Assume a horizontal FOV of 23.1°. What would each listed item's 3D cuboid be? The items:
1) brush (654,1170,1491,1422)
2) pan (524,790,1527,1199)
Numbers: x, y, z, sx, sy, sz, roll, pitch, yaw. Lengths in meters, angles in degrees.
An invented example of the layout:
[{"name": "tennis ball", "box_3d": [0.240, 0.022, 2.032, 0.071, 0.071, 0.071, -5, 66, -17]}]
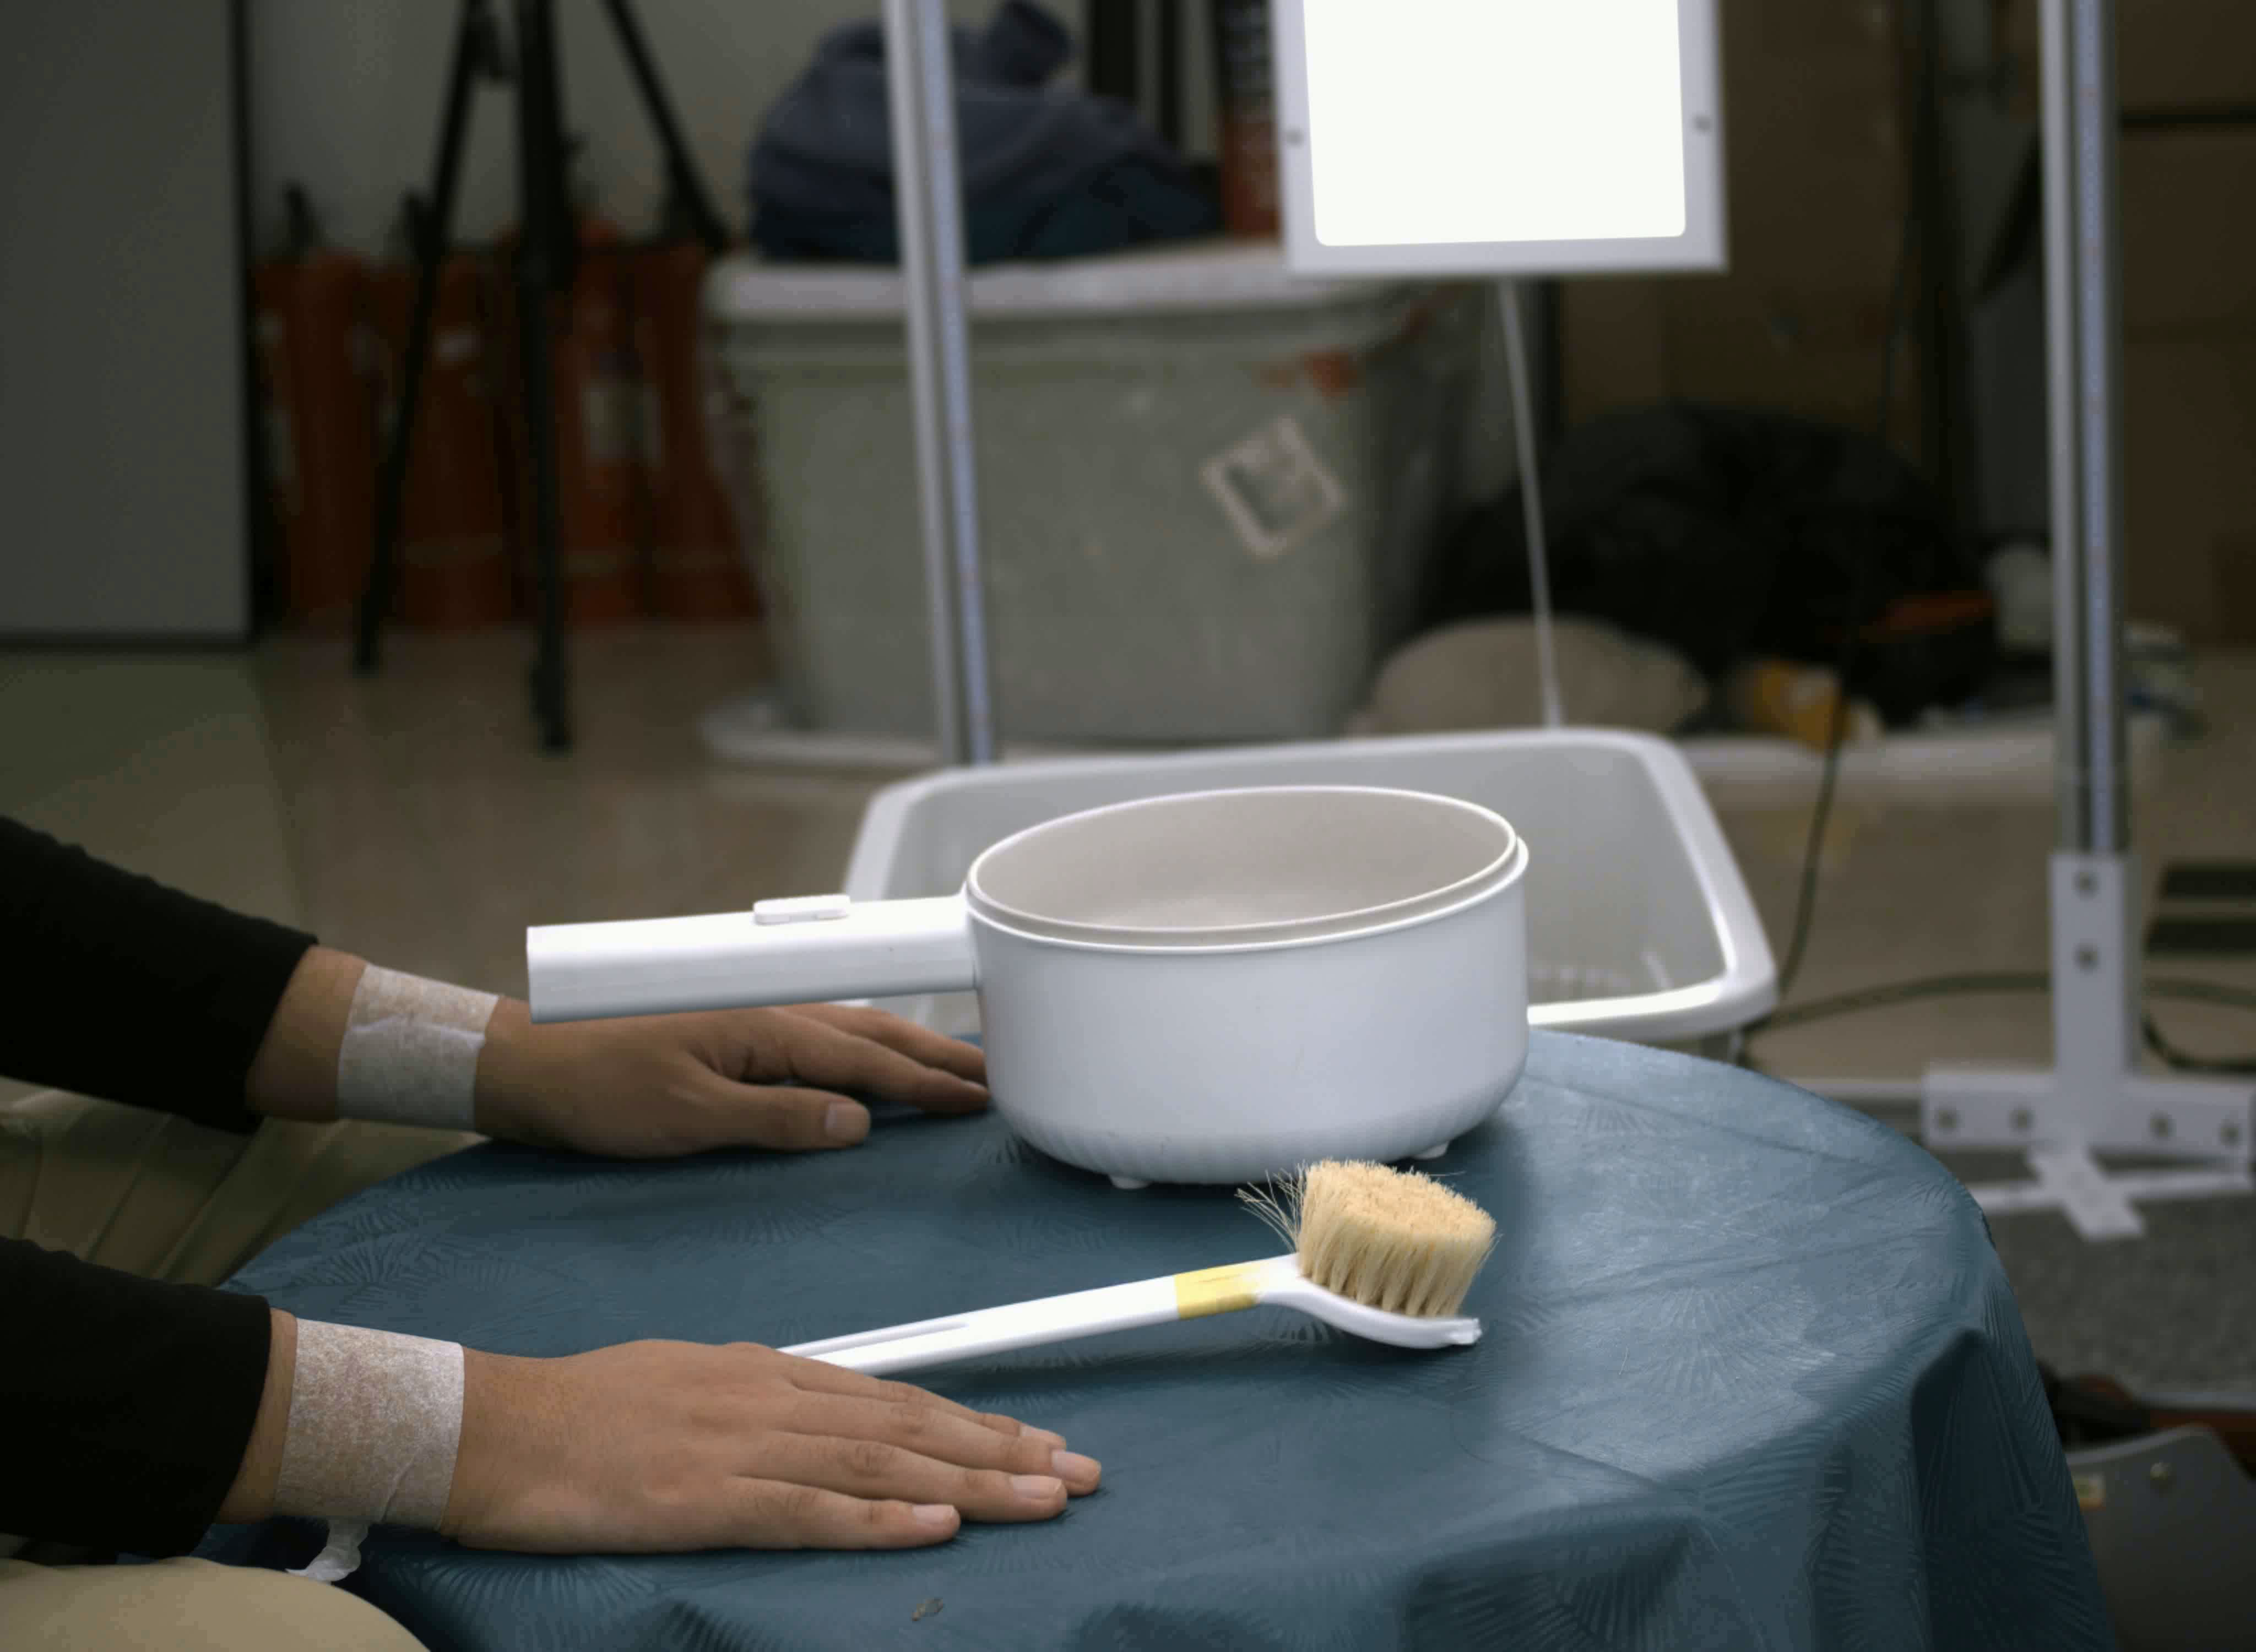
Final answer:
[{"name": "brush", "box_3d": [-0.018, 0.146, 1.715, 0.266, 0.056, 0.068, -6, 9, 2]}, {"name": "pan", "box_3d": [-0.033, 0.070, 1.944, 0.353, 0.102, 0.201, -7, 15, -2]}]
